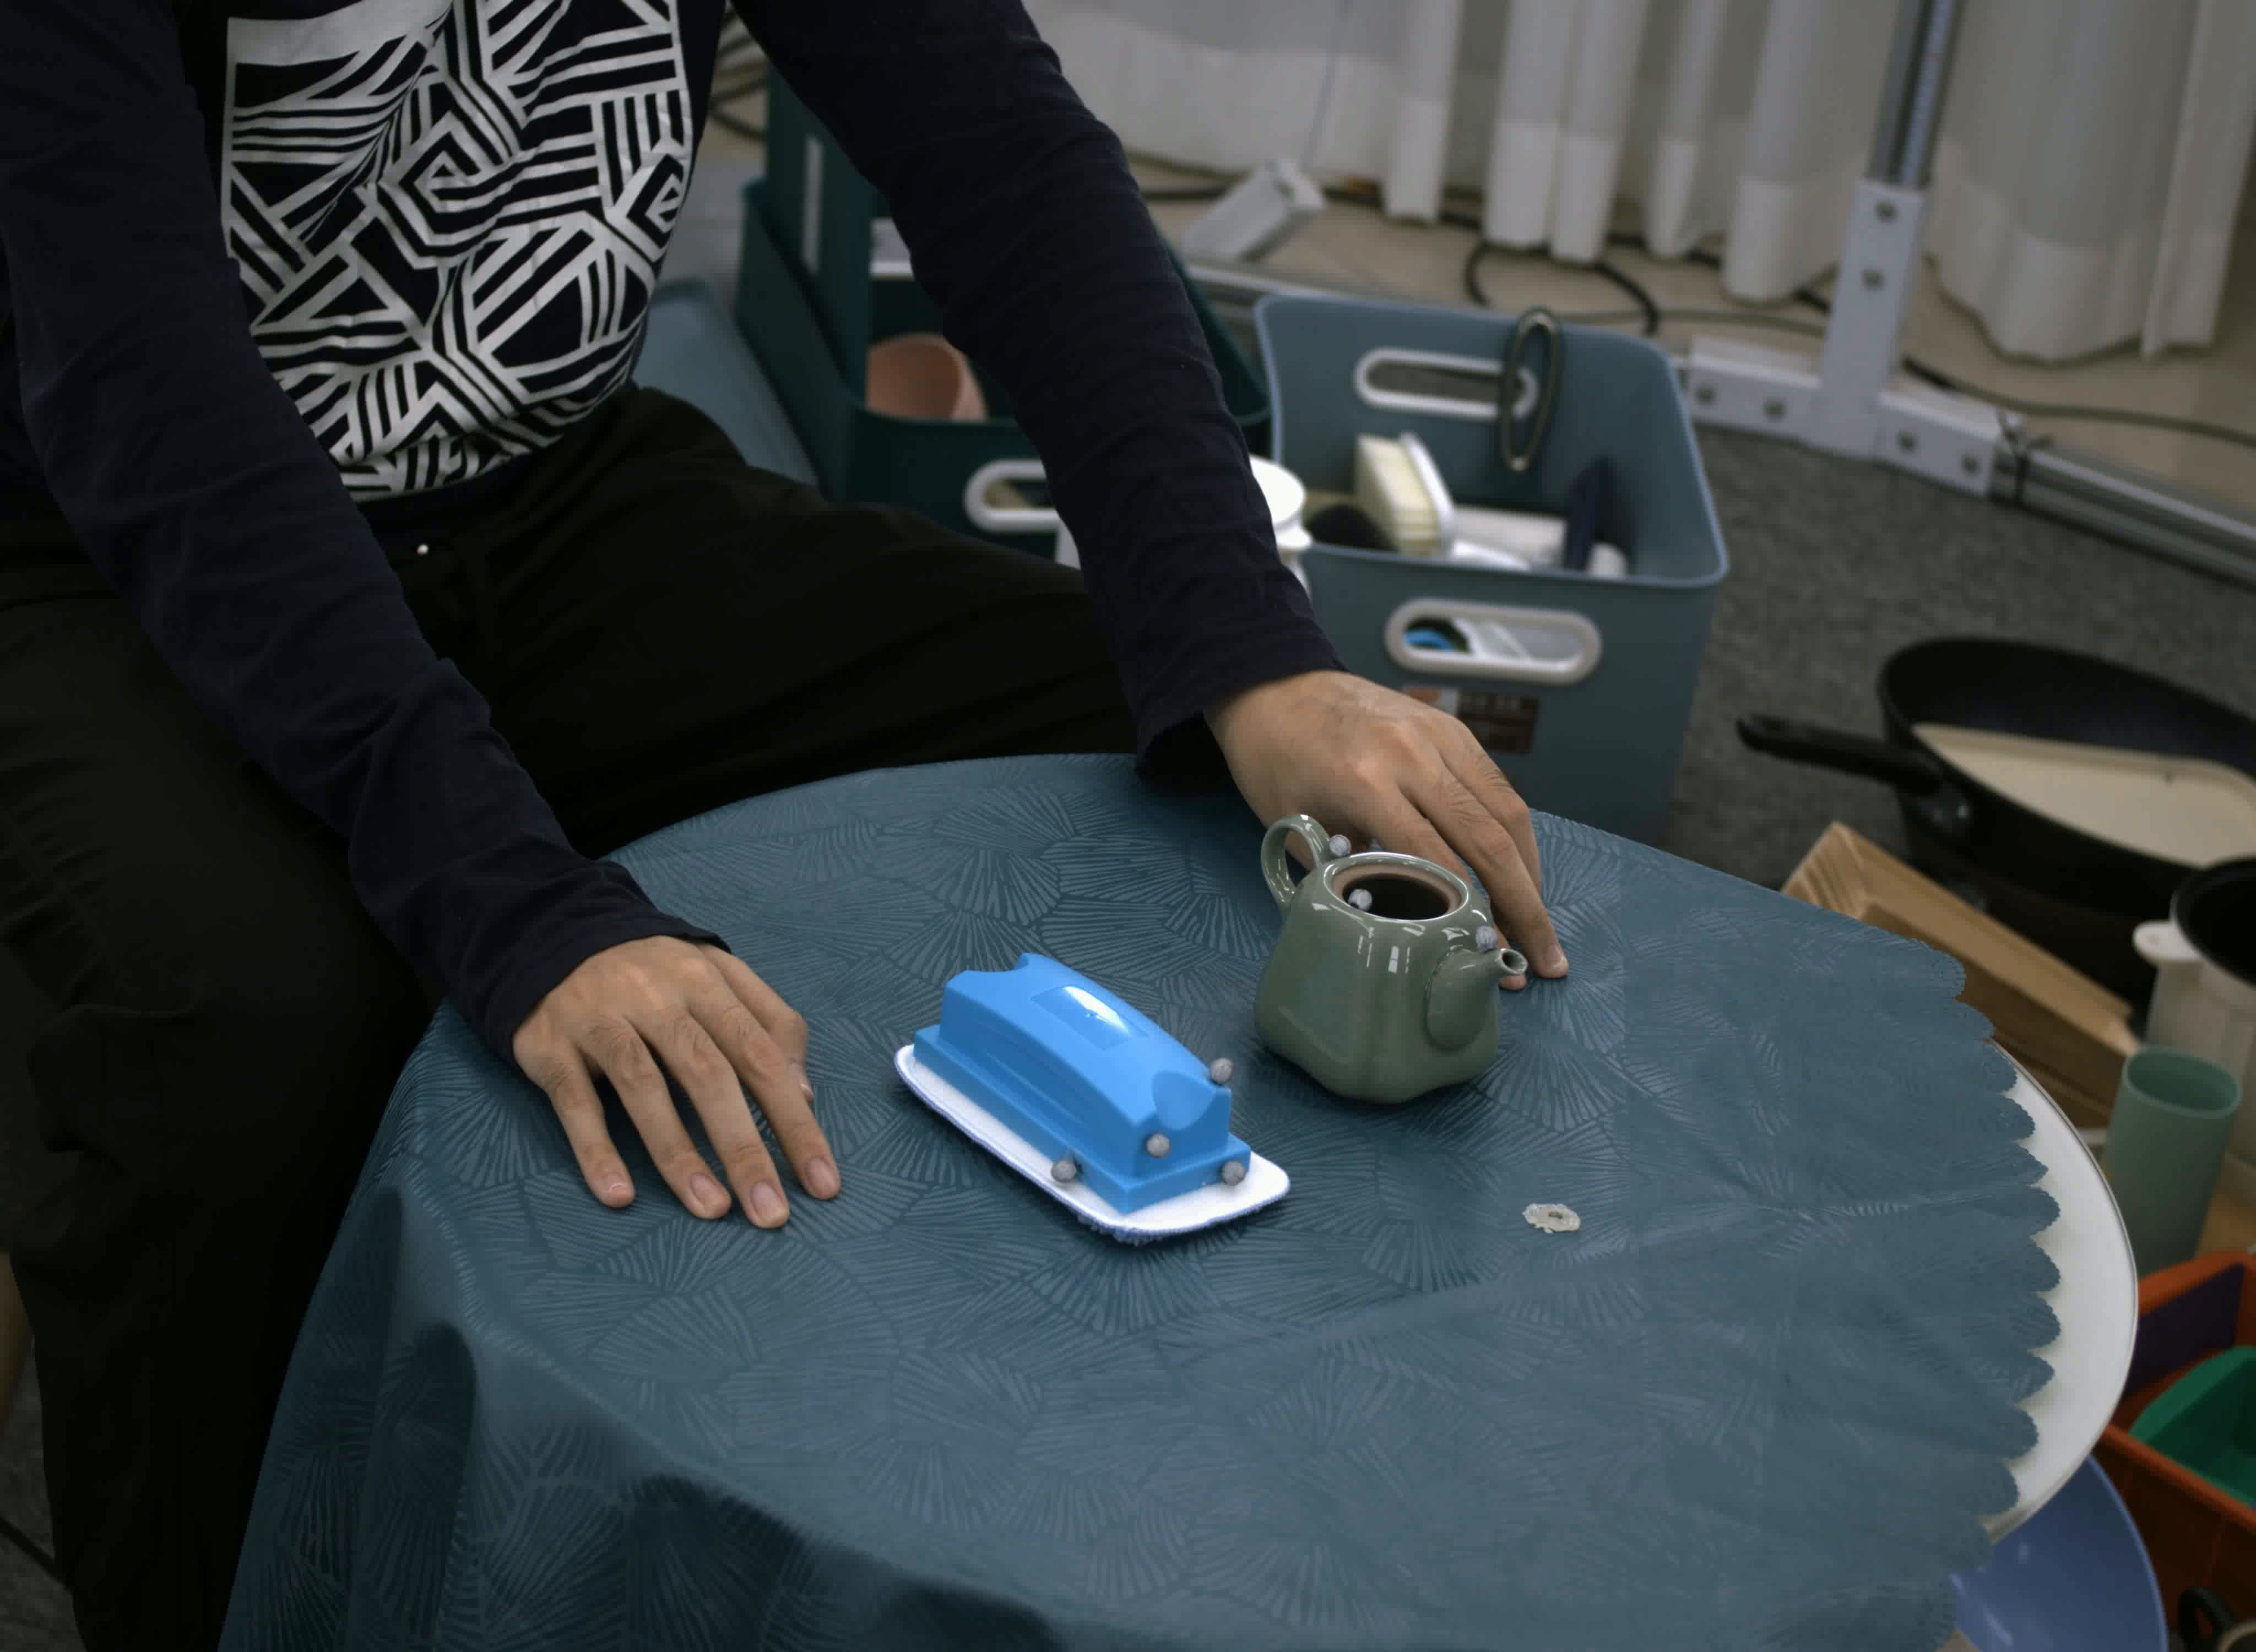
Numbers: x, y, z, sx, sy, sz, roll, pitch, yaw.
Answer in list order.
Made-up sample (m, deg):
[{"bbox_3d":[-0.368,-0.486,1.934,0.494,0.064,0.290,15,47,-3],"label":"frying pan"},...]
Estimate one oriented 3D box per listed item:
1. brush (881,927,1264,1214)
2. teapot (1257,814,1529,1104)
[{"bbox_3d":[-0.017,0.079,1.822,0.083,0.056,0.145,-10,34,-36],"label":"brush"},{"bbox_3d":[0.092,0.051,1.889,0.079,0.075,0.133,-15,33,-36],"label":"teapot"}]
